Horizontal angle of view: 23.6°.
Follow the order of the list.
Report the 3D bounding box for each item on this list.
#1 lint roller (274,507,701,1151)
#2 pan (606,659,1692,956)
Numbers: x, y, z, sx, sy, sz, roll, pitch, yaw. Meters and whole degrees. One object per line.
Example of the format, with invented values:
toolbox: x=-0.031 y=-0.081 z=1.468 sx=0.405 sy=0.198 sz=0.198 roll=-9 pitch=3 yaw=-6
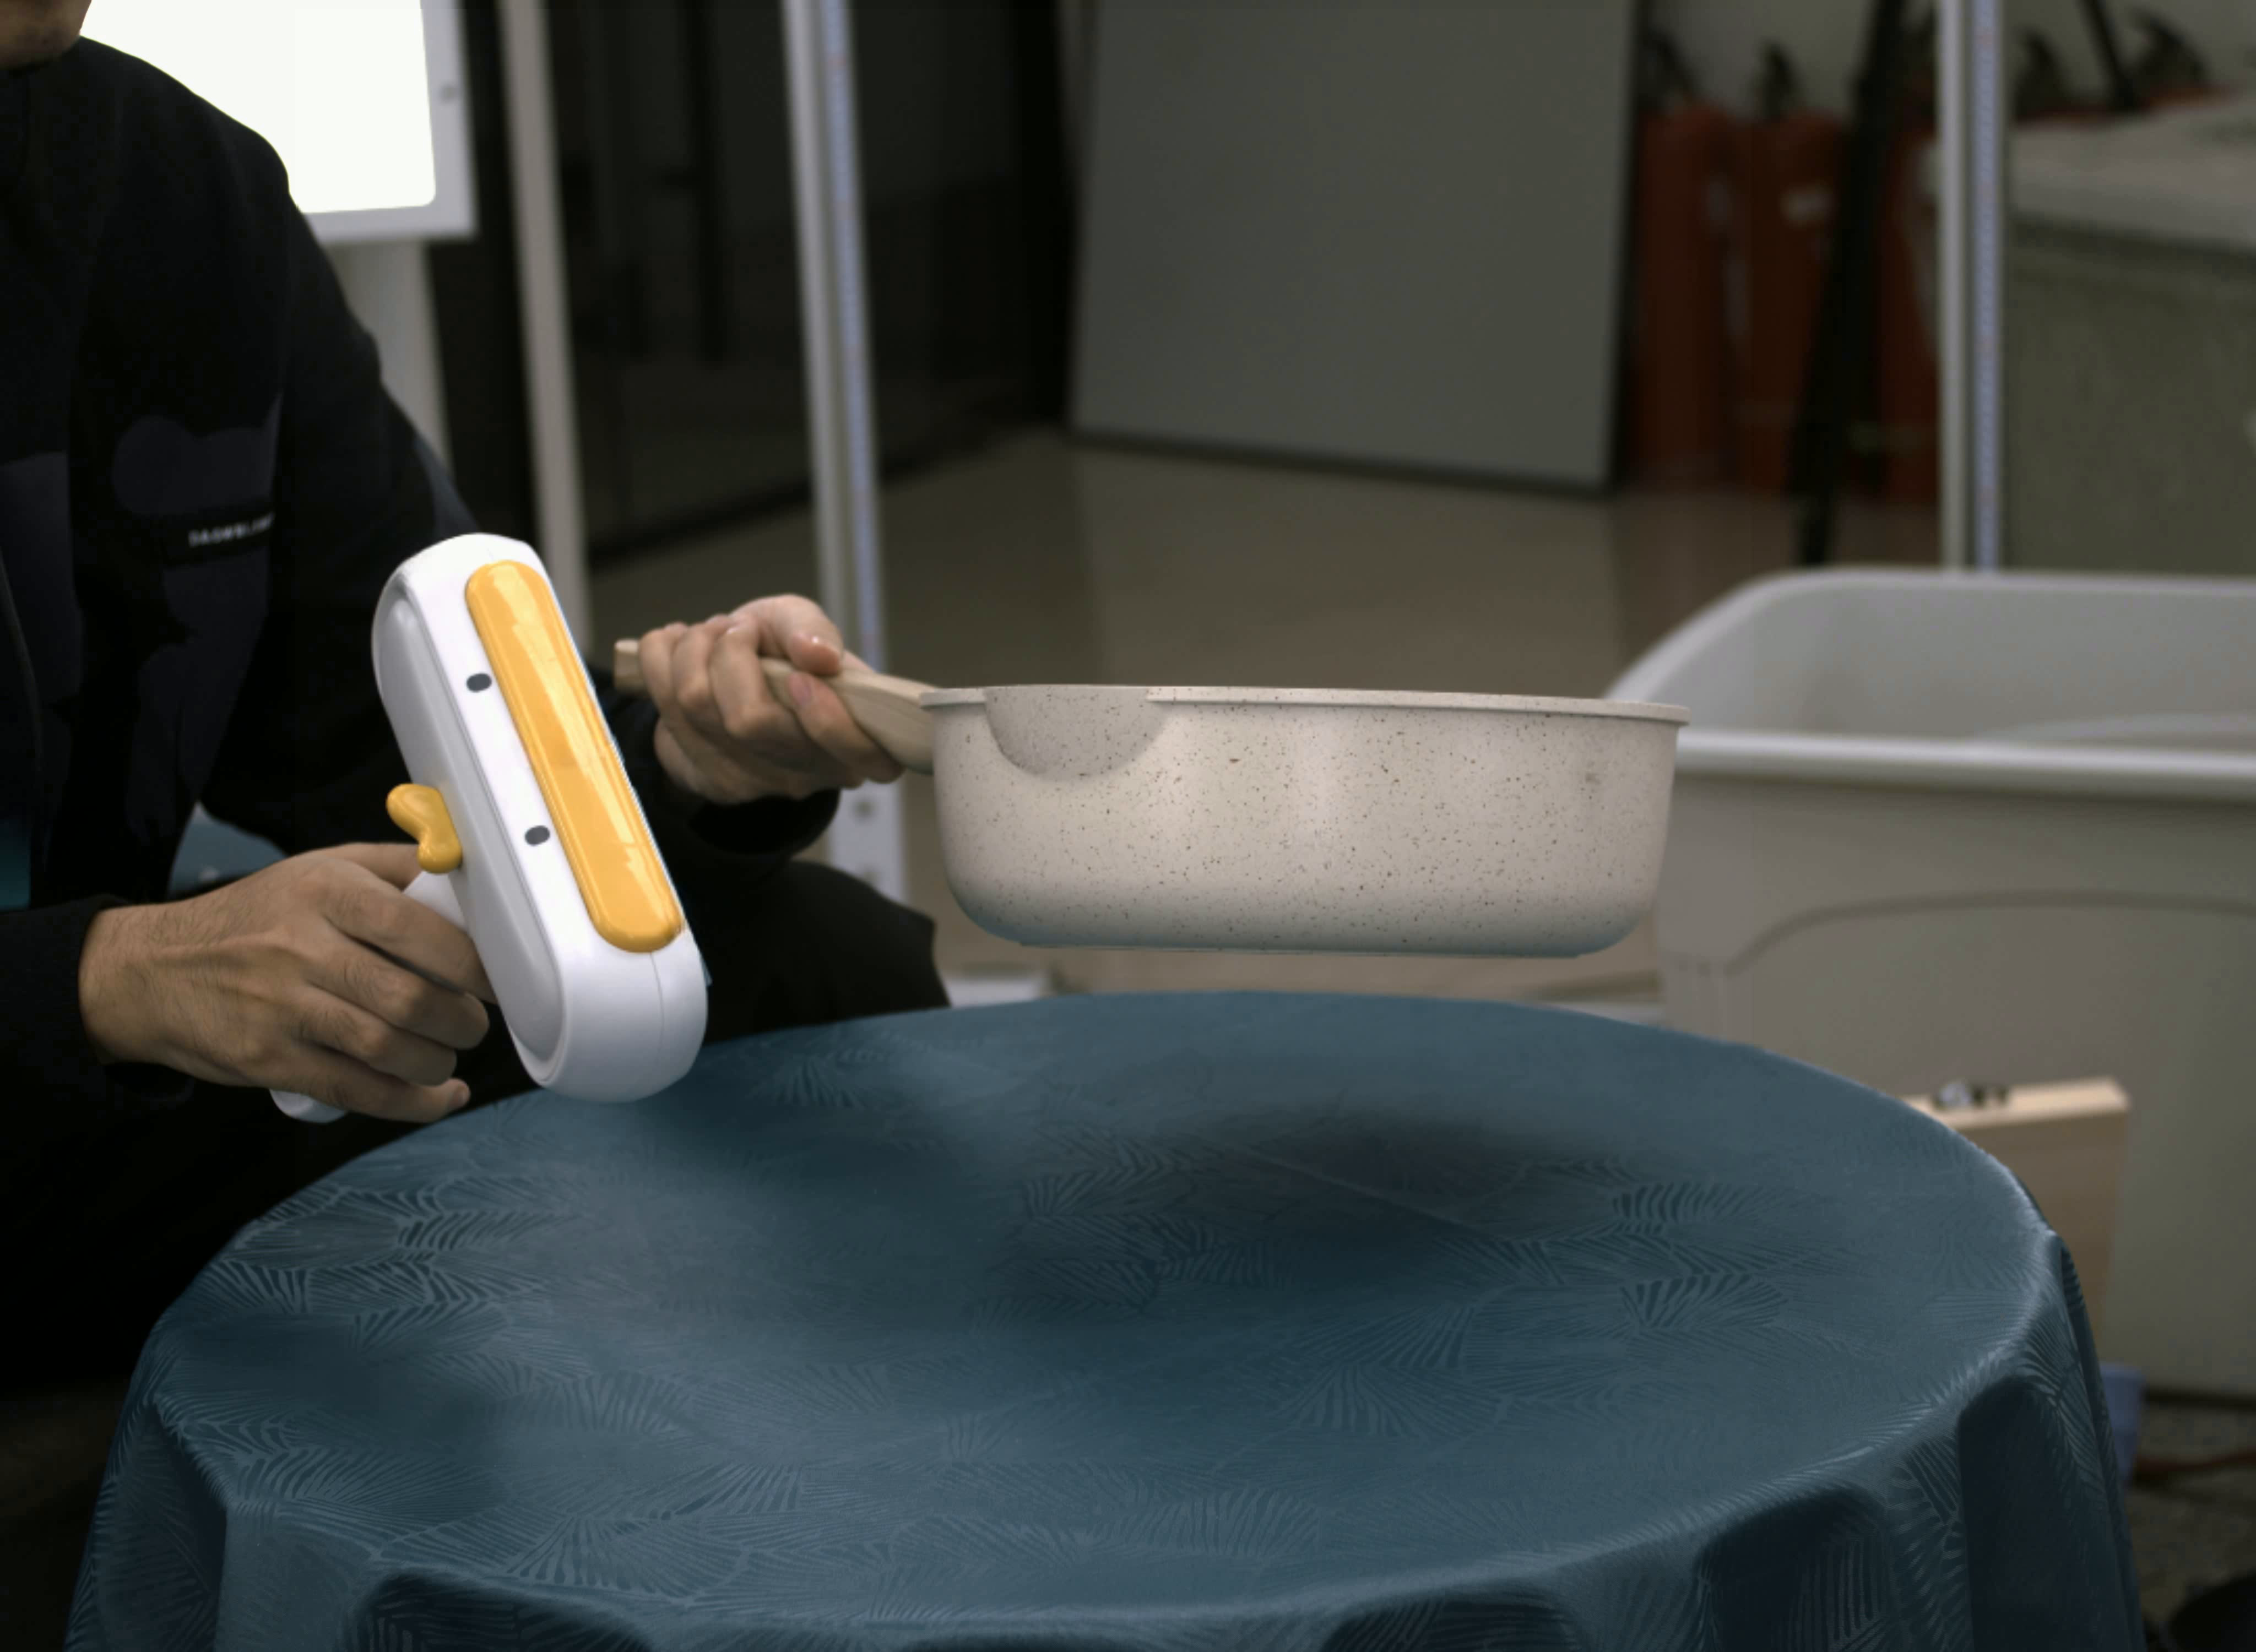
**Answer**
lint roller: x=-0.211 y=0.028 z=1.682 sx=0.072 sy=0.194 sz=0.195 roll=-9 pitch=54 yaw=-36
pan: x=-0.012 y=-0.009 z=1.803 sx=0.438 sy=0.103 sz=0.258 roll=0 pitch=0 yaw=40
